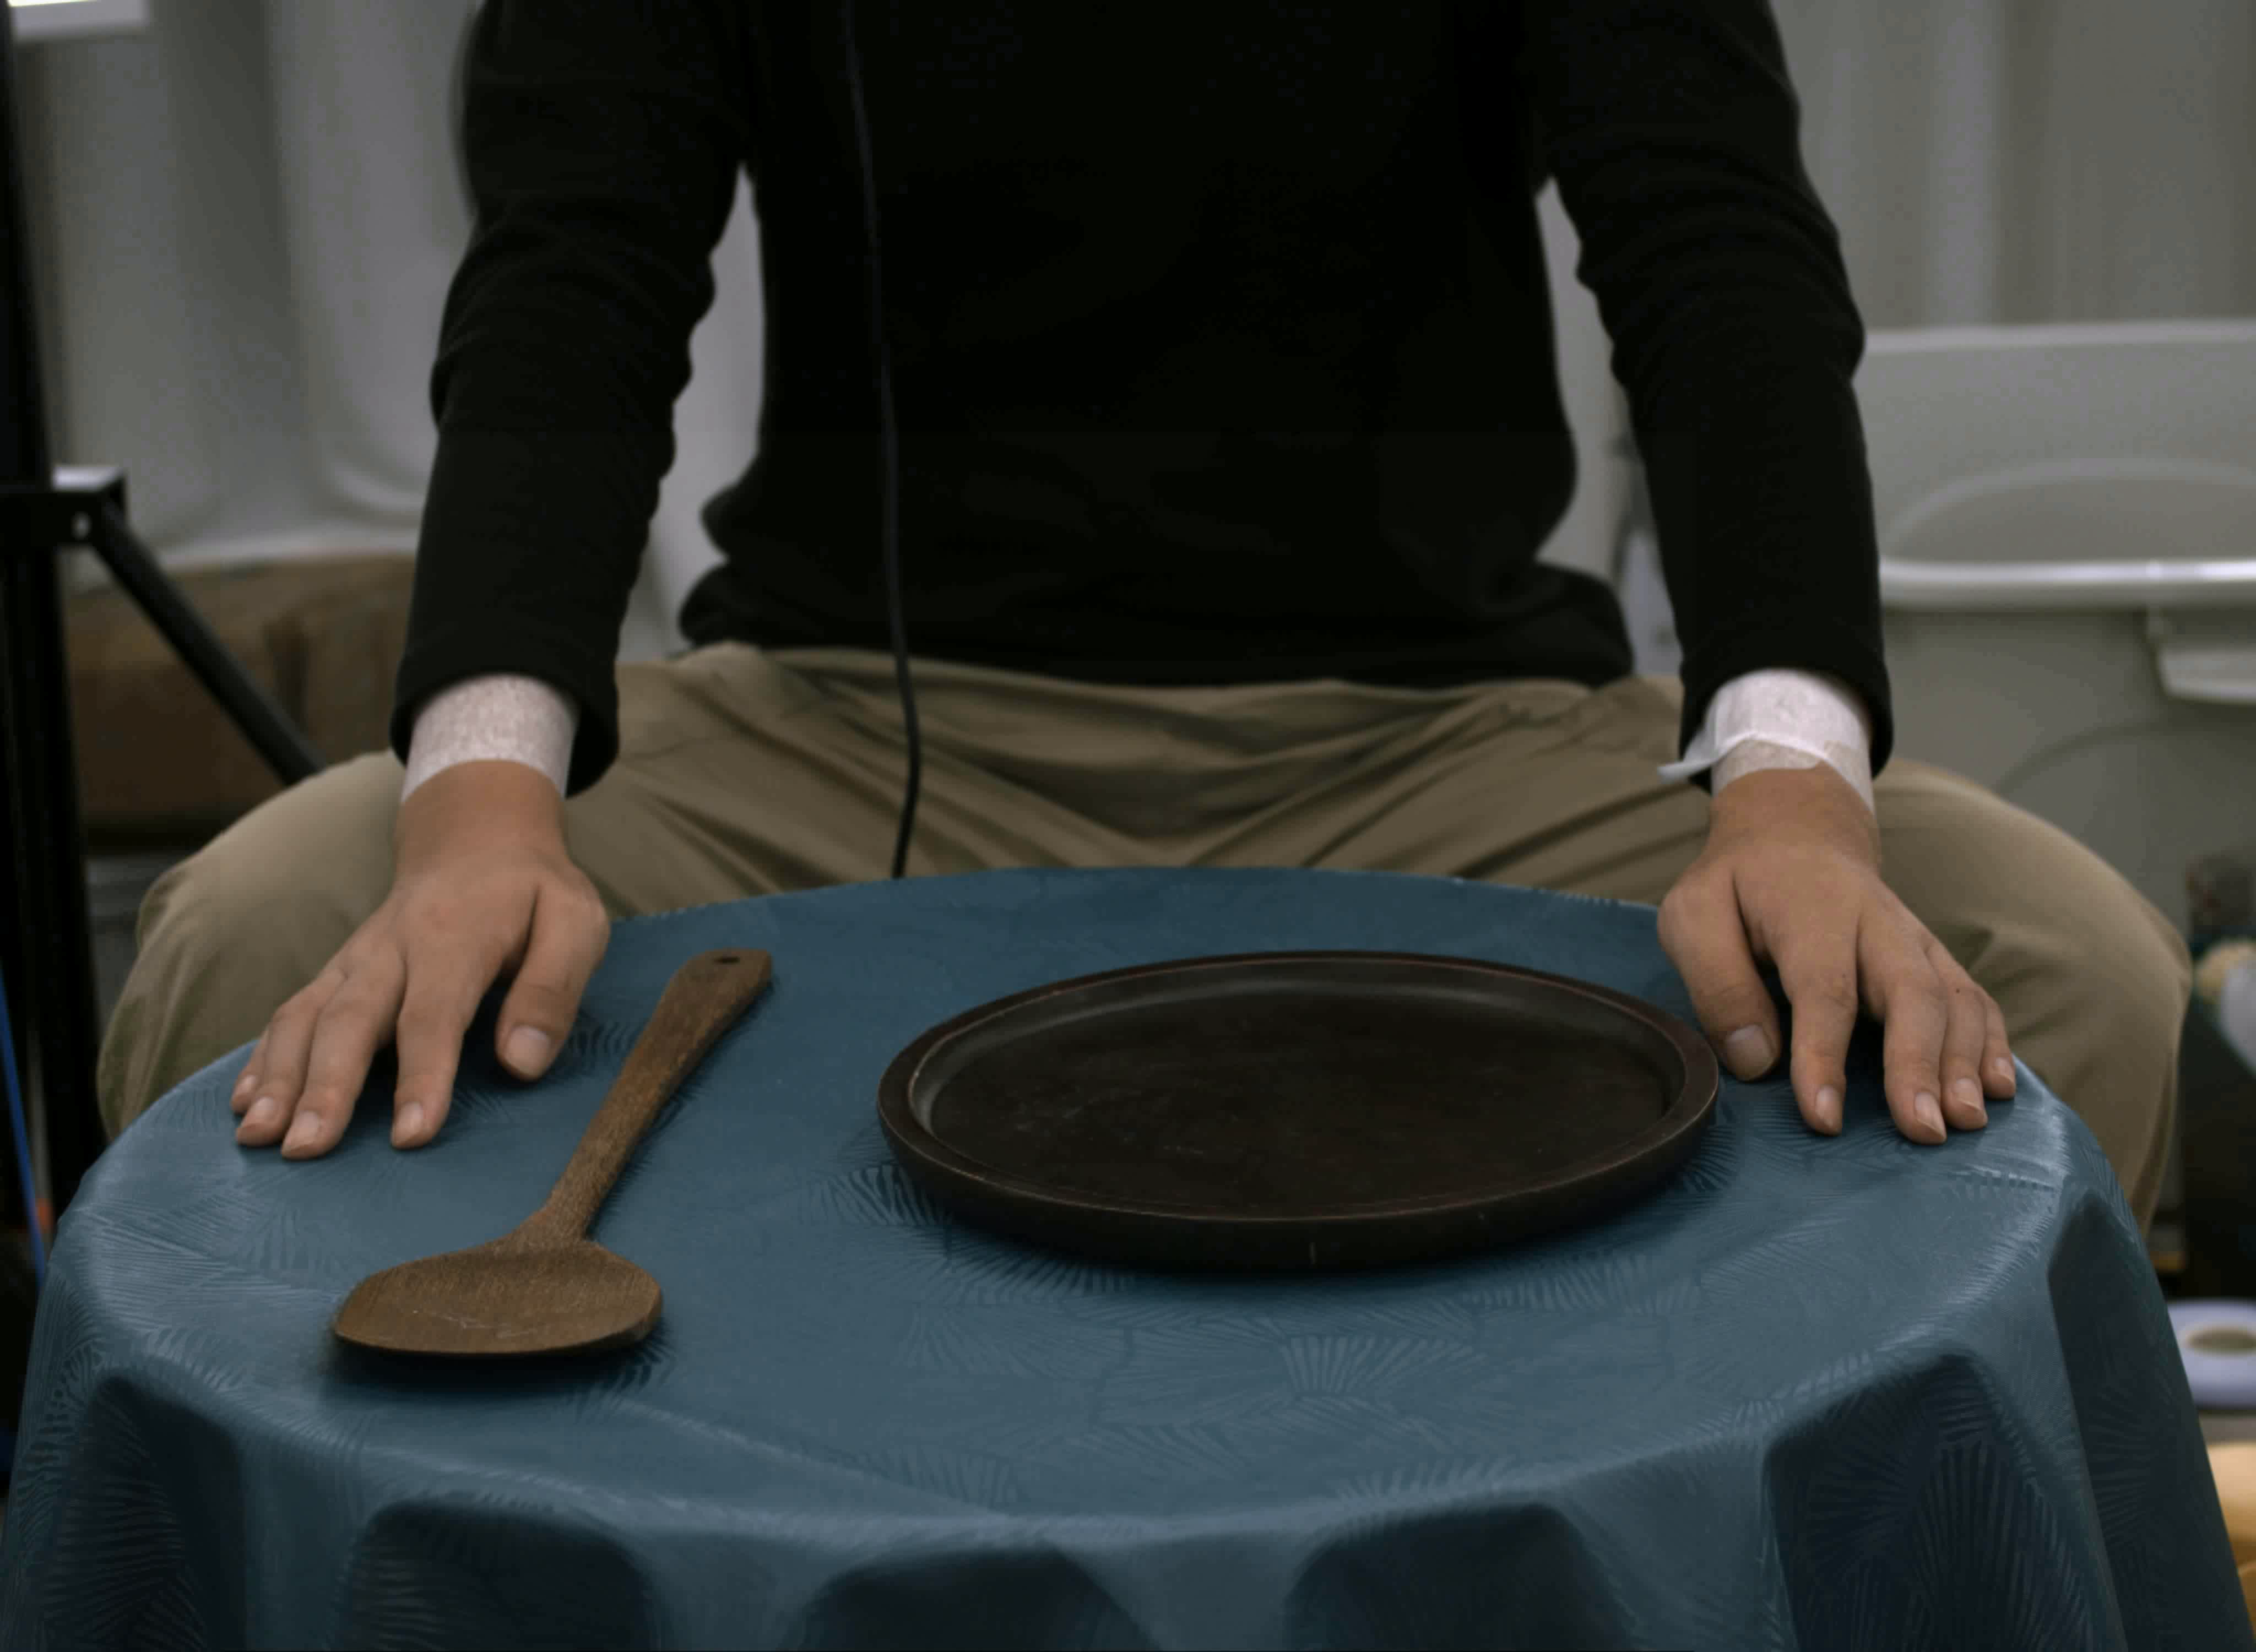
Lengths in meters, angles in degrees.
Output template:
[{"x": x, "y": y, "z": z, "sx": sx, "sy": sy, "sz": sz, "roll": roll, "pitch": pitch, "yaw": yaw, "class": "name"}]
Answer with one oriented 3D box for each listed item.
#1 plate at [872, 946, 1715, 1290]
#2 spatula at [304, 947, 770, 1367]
[{"x": 0.050, "y": 0.085, "z": 1.591, "sx": 0.253, "sy": 0.029, "sz": 0.256, "roll": -4, "pitch": 17, "yaw": 0, "class": "plate"}, {"x": -0.156, "y": 0.093, "z": 1.609, "sx": 0.096, "sy": 0.016, "sz": 0.385, "roll": 0, "pitch": 16, "yaw": 8, "class": "spatula"}]
